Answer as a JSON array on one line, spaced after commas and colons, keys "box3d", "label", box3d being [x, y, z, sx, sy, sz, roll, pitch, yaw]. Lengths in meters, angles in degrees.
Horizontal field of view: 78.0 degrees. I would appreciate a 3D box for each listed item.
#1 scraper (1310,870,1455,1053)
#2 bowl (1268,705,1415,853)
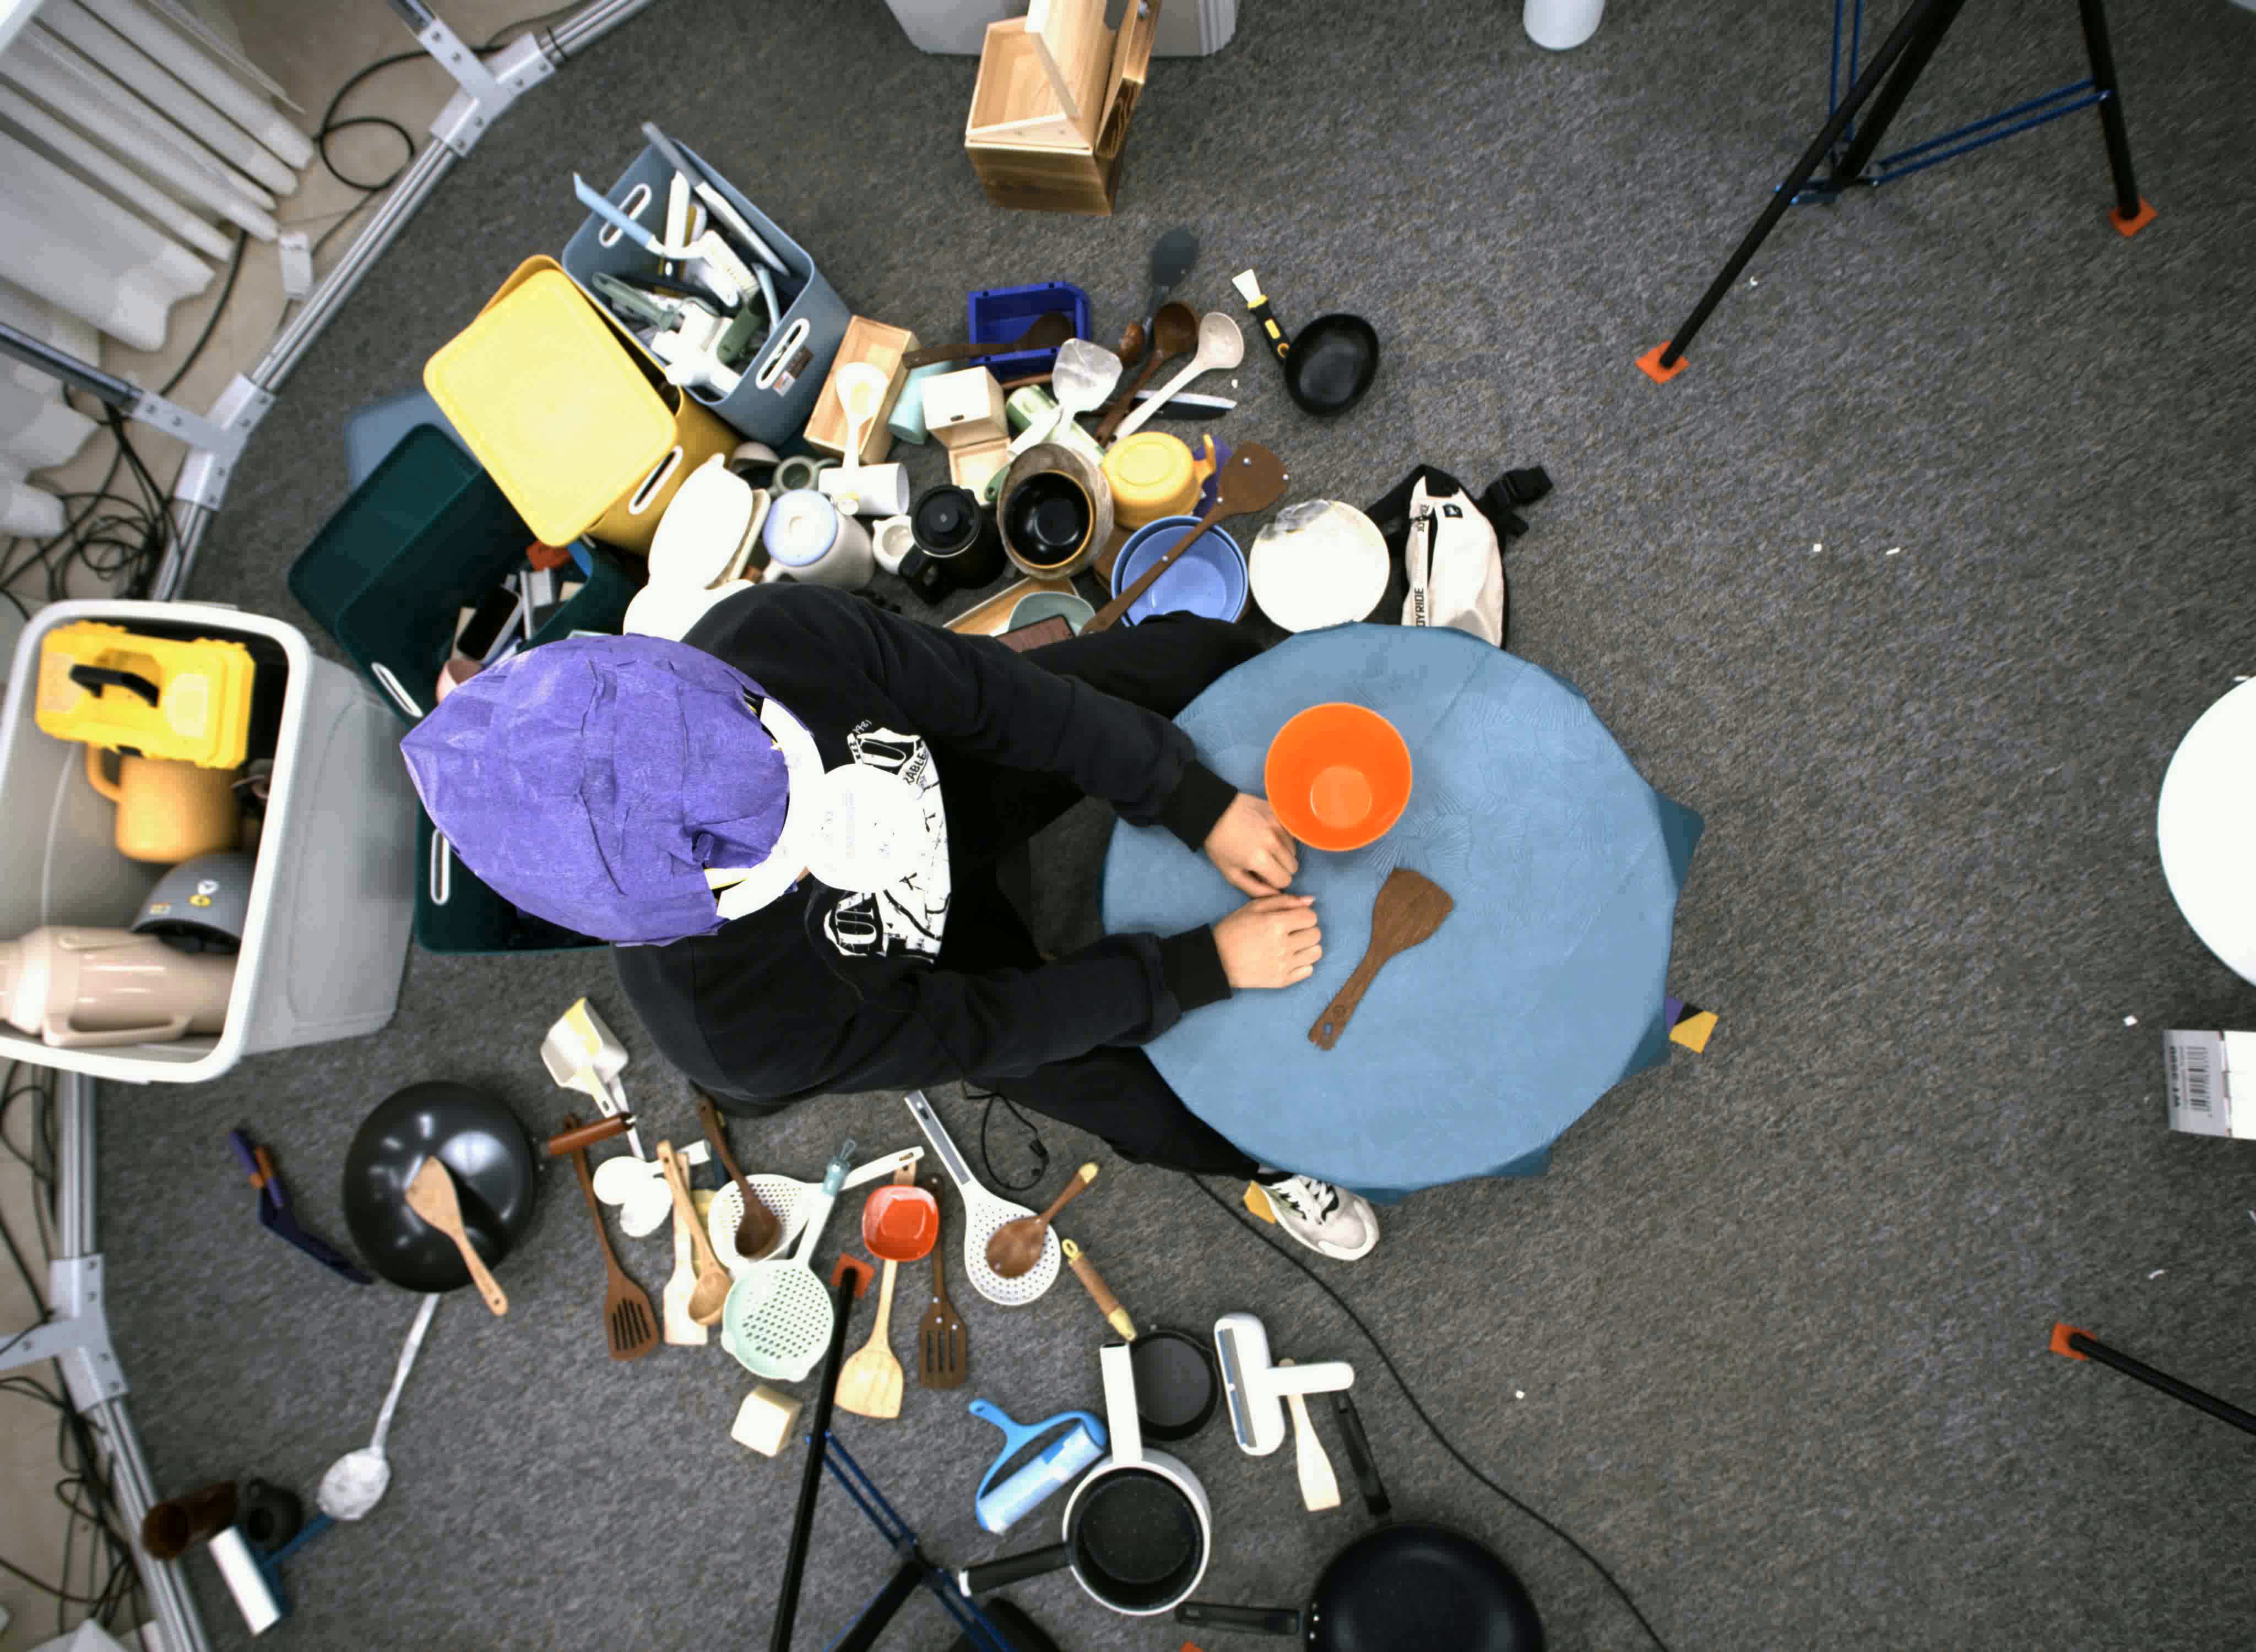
[{"box3d": [0.259, 0.146, 1.458, 0.075, 0.011, 0.212, 35, 93, 12], "label": "scraper"}, {"box3d": [0.222, -0.043, 1.430, 0.148, 0.105, 0.147, -1, 85, 9], "label": "bowl"}]
